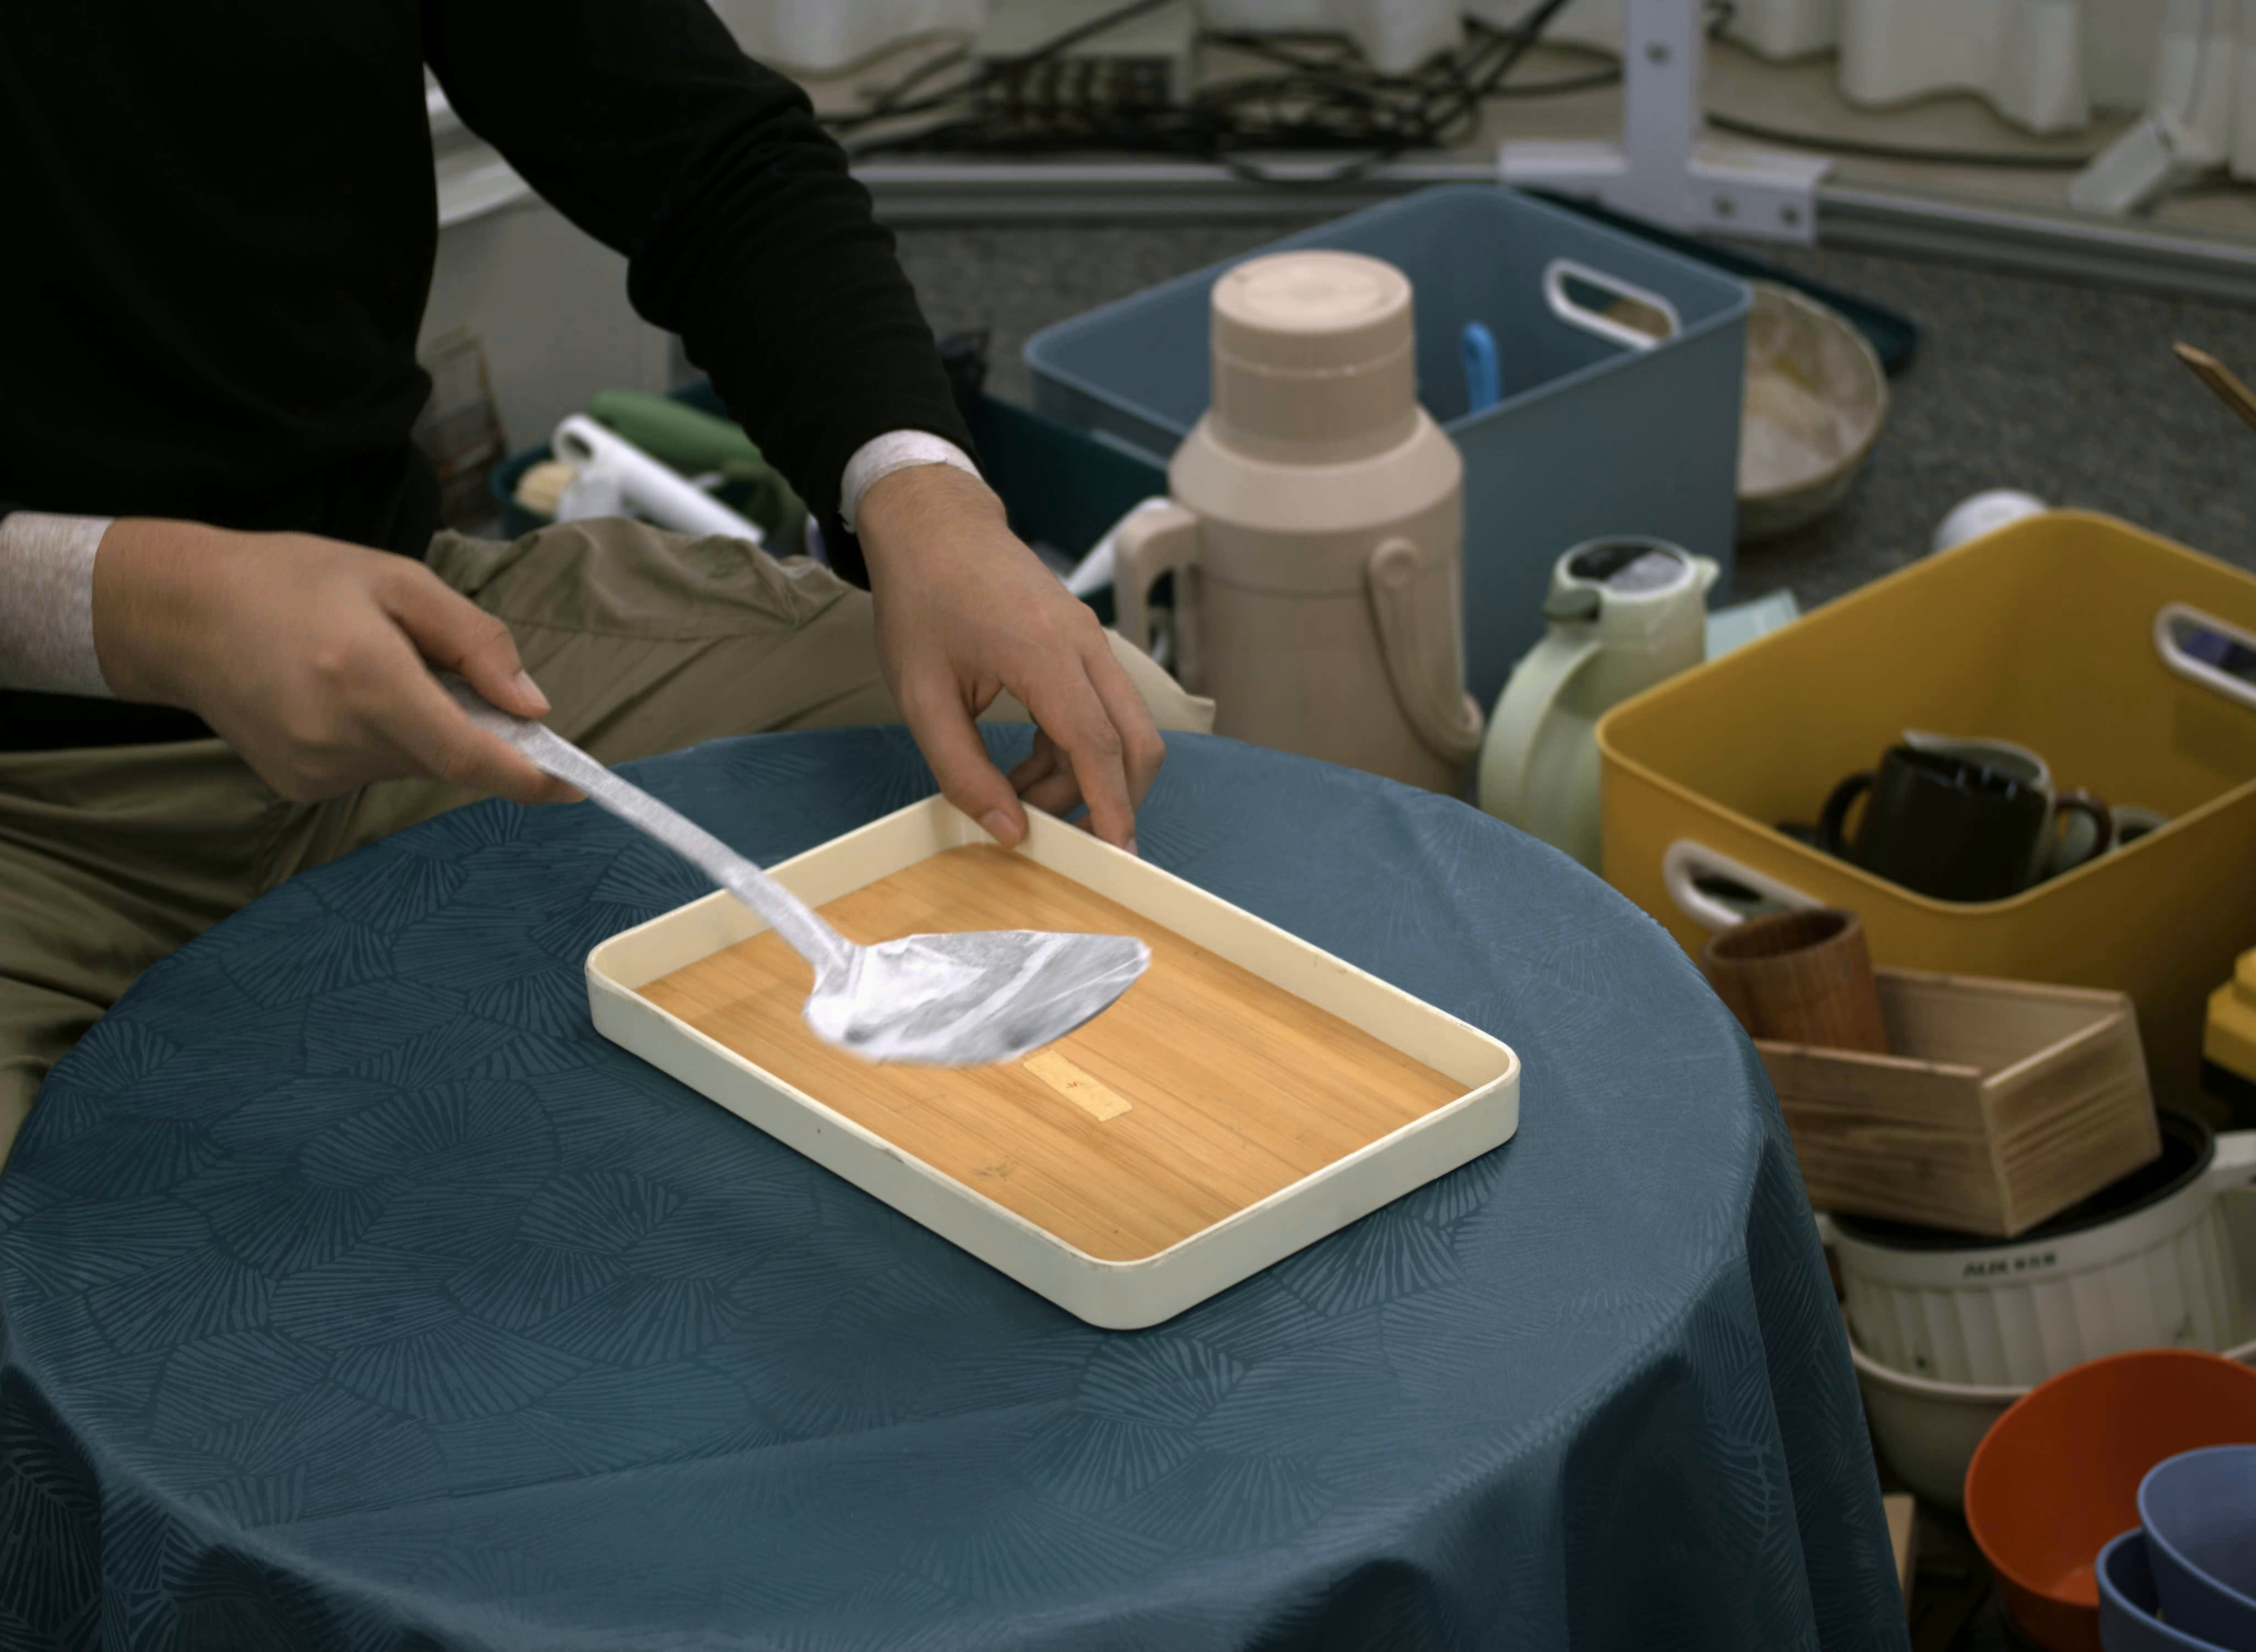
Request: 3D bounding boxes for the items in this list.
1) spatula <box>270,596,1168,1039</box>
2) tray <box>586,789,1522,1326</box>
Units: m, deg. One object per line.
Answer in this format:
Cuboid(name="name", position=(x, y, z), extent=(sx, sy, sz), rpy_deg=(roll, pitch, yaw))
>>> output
Cuboid(name="spatula", position=(-0.151, -0.010, 1.819), extent=(0.365, 0.044, 0.100), rpy_deg=(29, 35, 26))
Cuboid(name="tray", position=(-0.029, 0.074, 1.927), extent=(0.193, 0.027, 0.300), rpy_deg=(-24, 34, -34))
